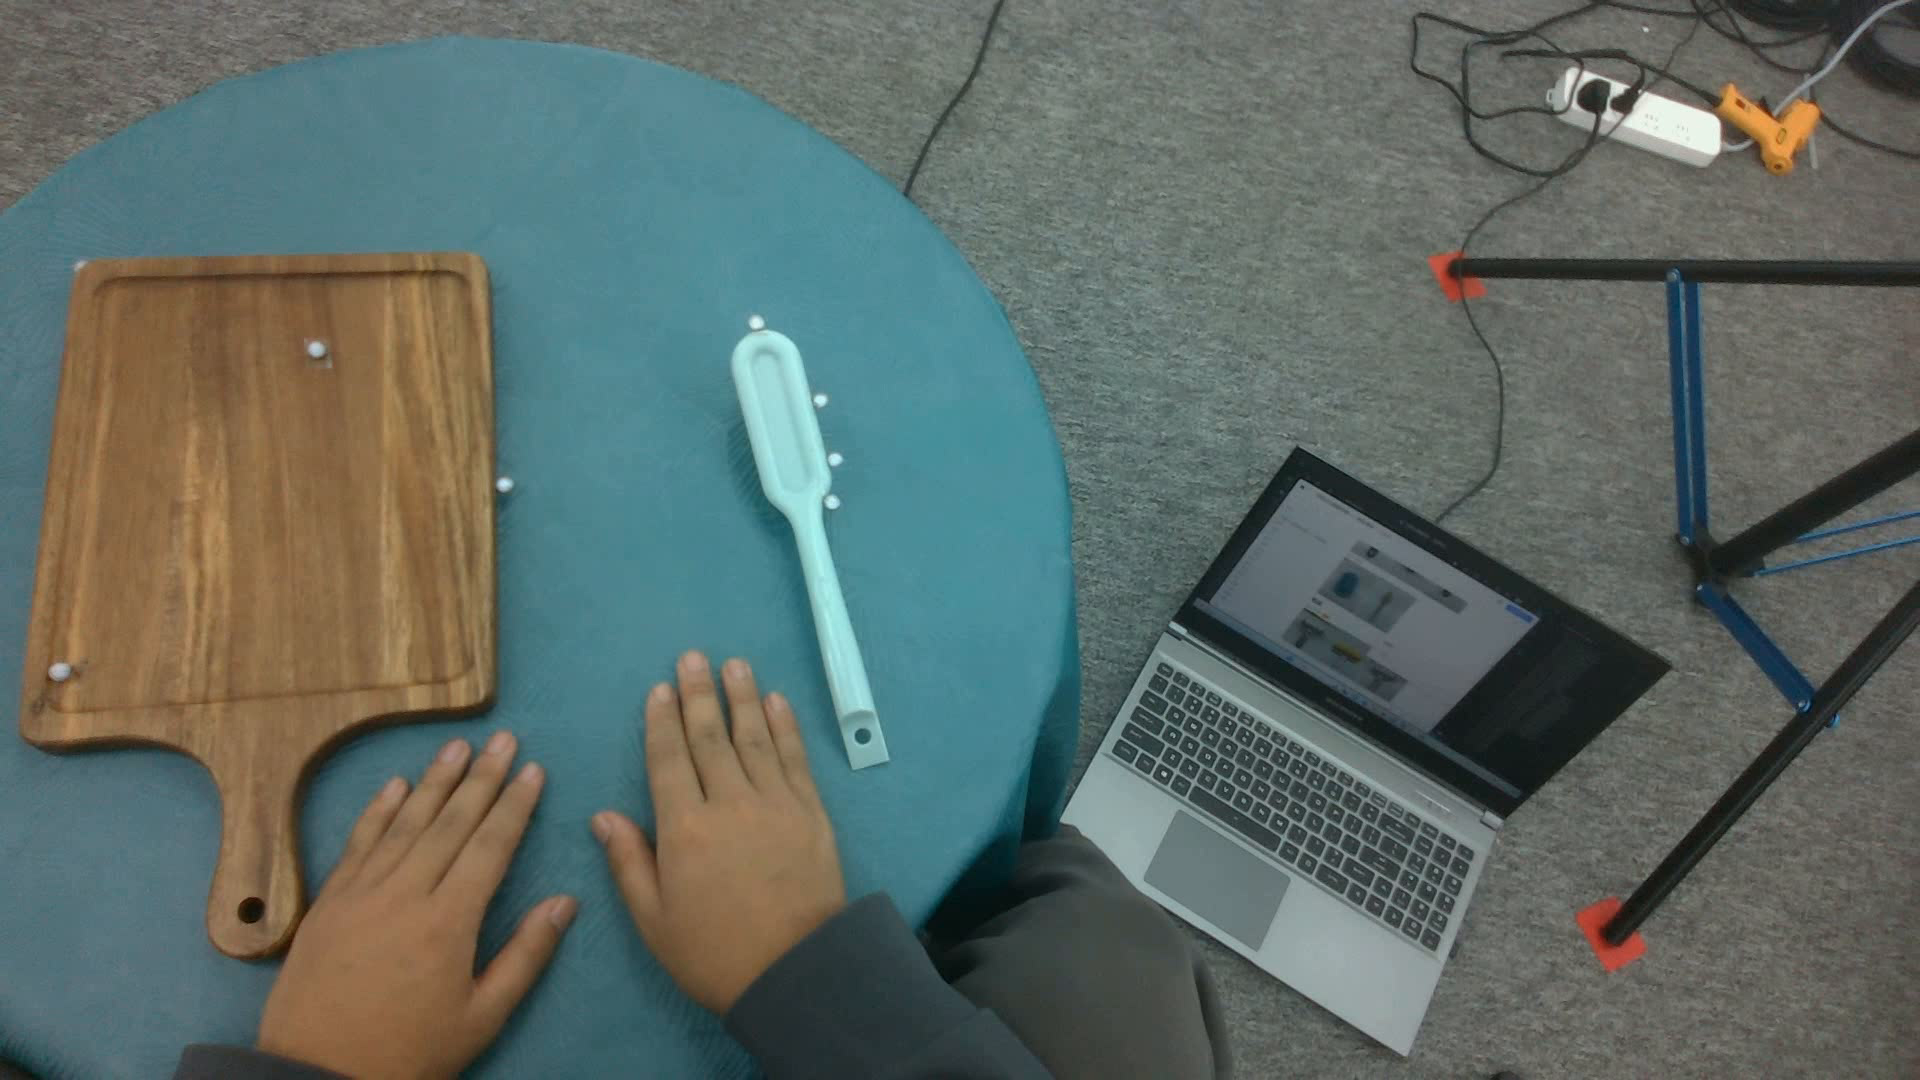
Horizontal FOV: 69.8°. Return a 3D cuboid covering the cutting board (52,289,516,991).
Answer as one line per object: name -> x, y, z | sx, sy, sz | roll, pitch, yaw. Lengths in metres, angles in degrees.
cutting board -> -0.323, 0.035, 0.665 | 0.201, 0.023, 0.353 | -6, 67, -12

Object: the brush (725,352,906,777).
brush -> -0.072, 0.011, 0.713 | 0.038, 0.049, 0.229 | -20, 78, -4
